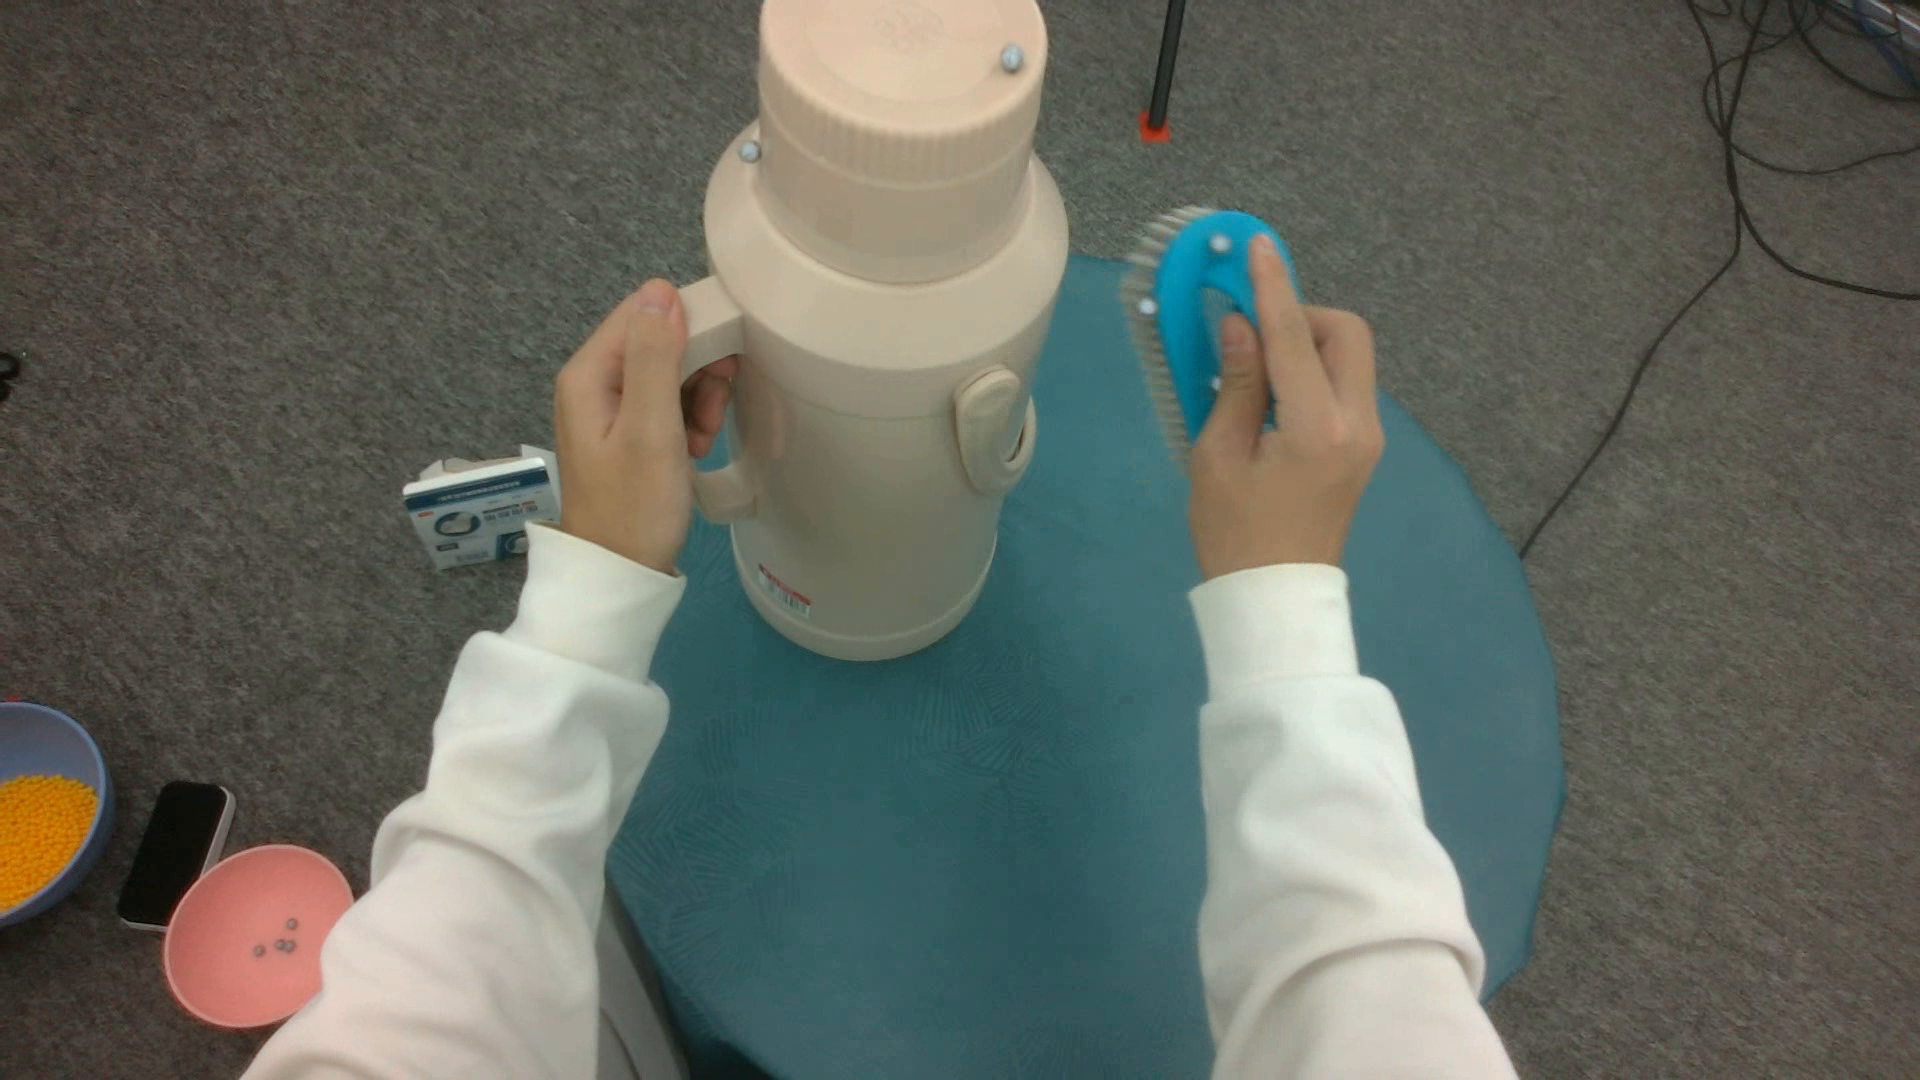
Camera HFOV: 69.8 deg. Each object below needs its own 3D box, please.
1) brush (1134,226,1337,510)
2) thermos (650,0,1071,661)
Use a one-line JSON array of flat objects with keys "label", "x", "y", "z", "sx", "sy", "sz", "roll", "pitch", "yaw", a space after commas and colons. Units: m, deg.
[{"label": "brush", "x": 0.140, "y": -0.081, "z": 0.651, "sx": 0.084, "sy": 0.141, "sz": 0.064, "roll": -26, "pitch": 22, "yaw": -18}, {"label": "thermos", "x": -0.048, "y": -0.083, "z": 0.687, "sx": 0.207, "sy": 0.404, "sz": 0.175, "roll": -29, "pitch": 69, "yaw": -19}]
